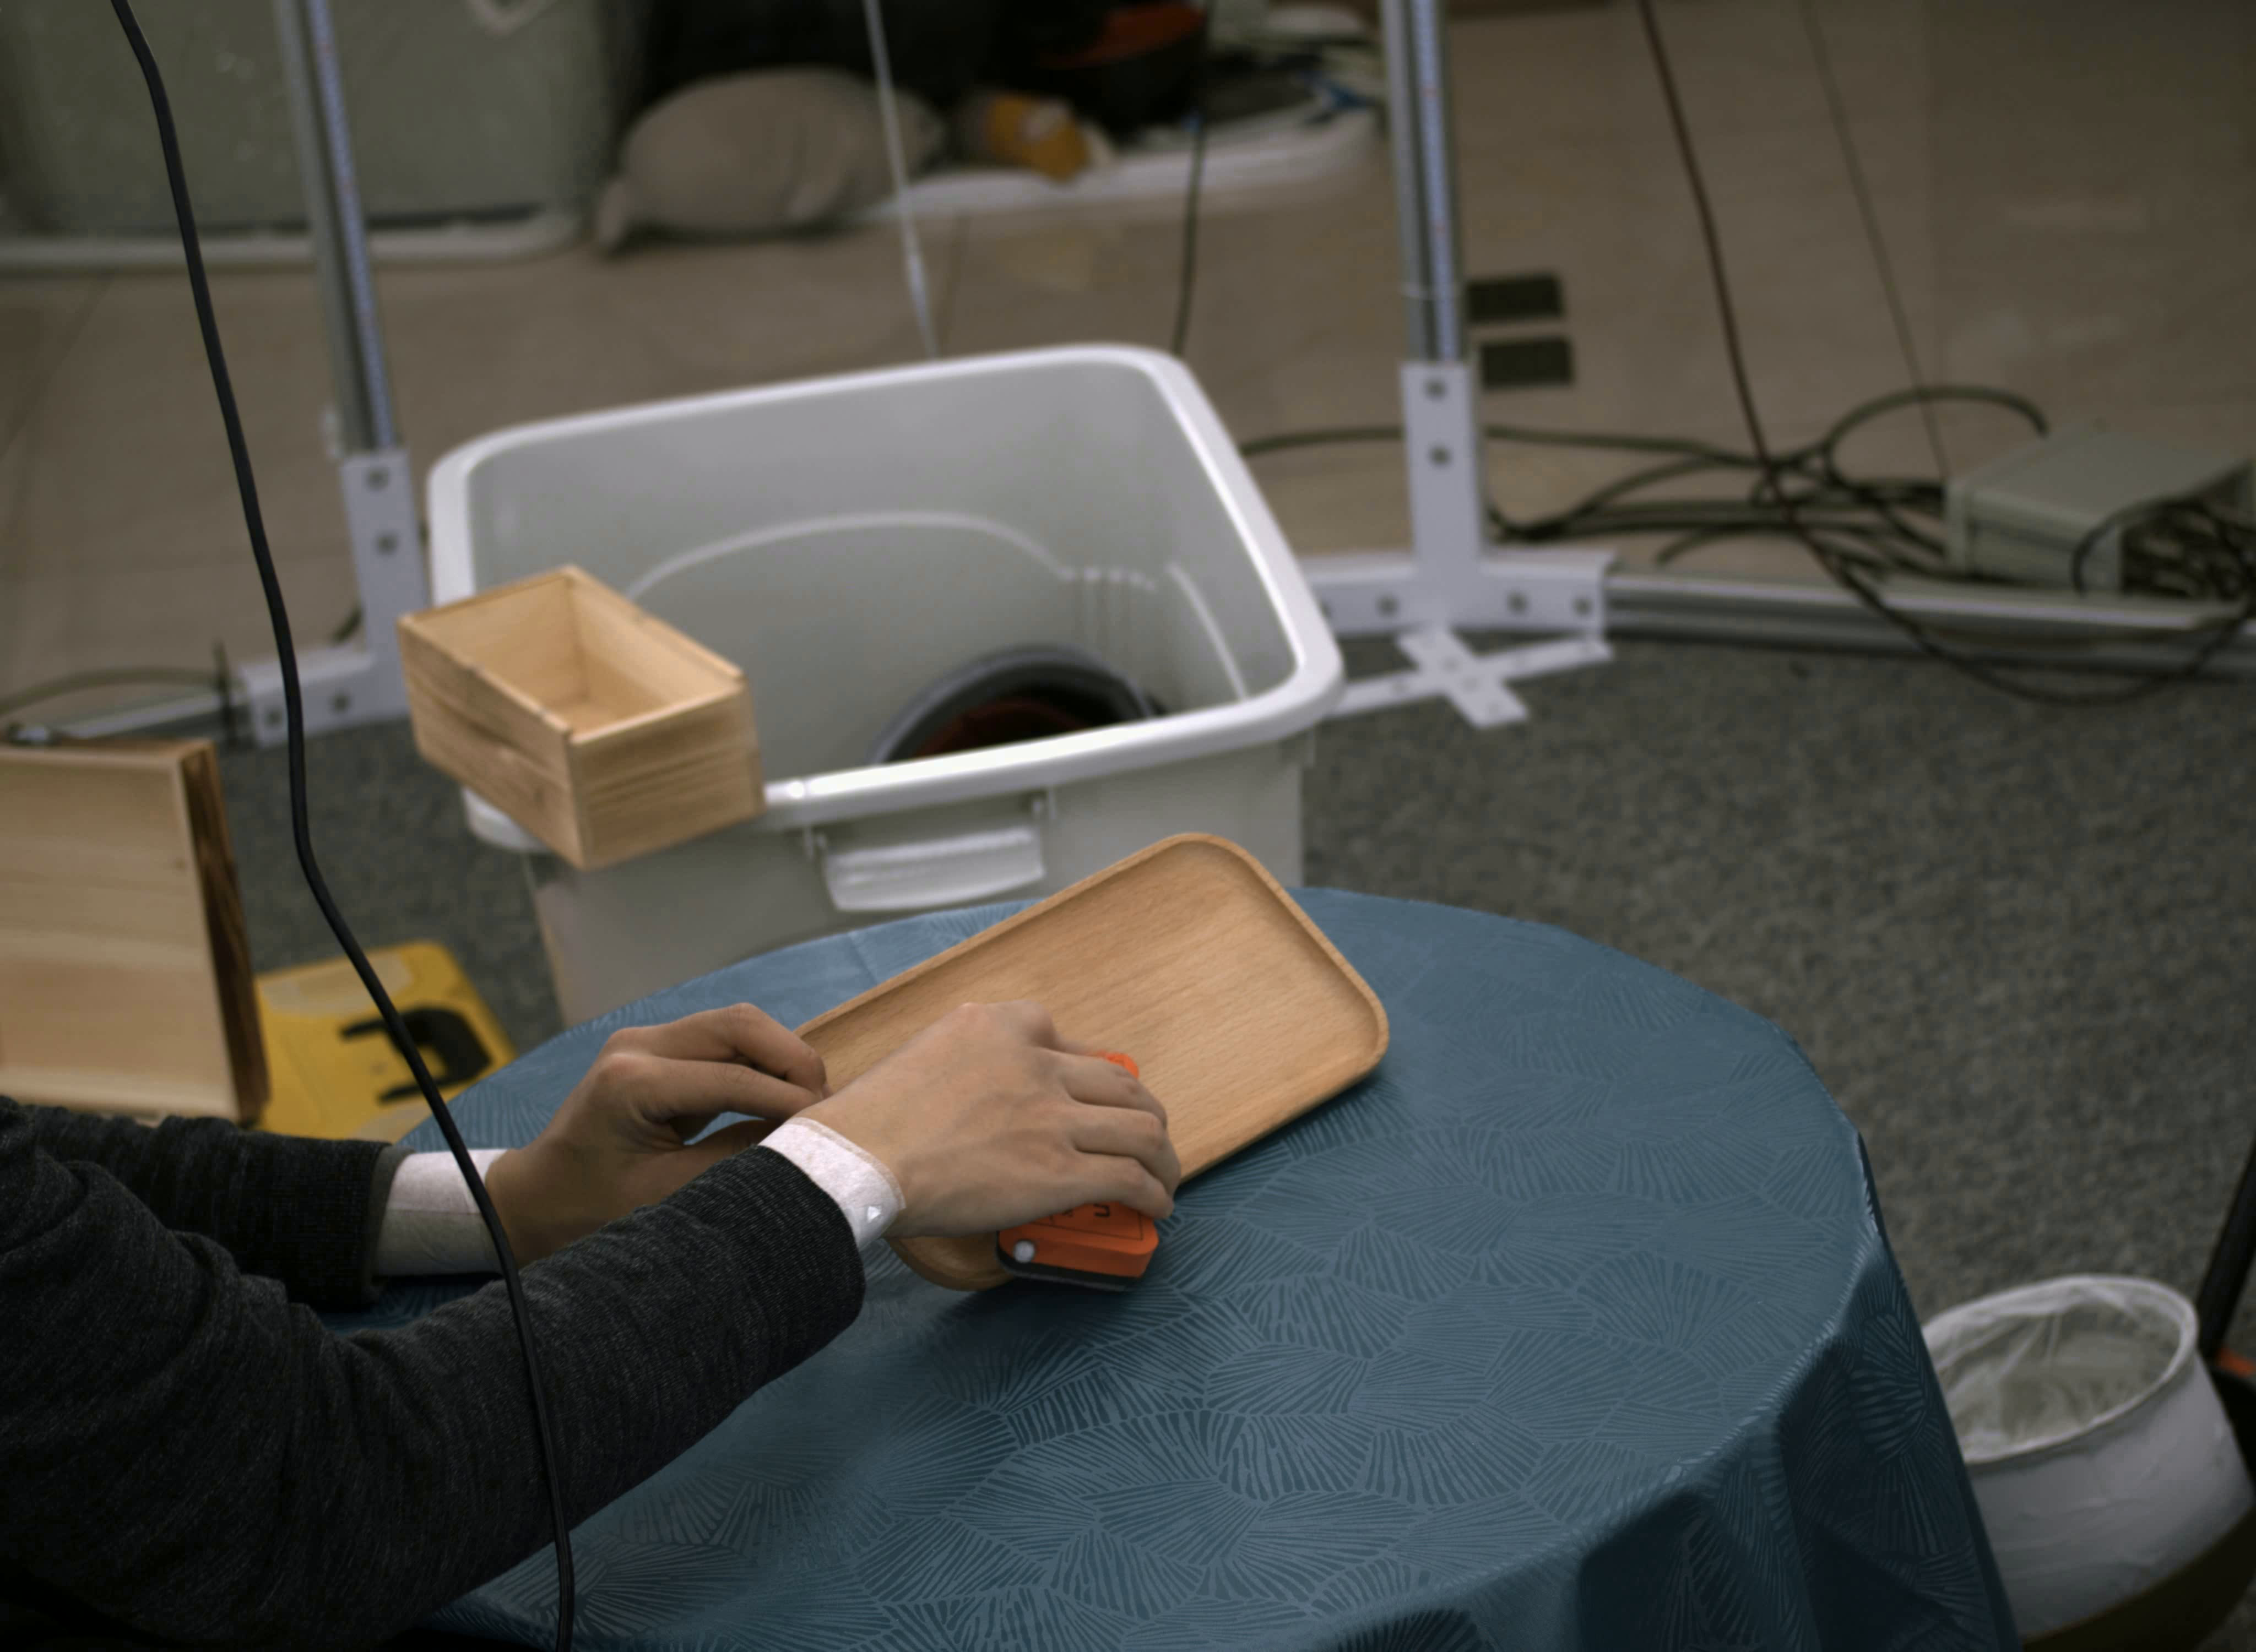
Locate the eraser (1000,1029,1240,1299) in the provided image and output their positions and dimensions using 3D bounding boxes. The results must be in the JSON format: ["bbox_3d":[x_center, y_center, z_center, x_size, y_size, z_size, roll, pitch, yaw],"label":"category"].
[{"bbox_3d":[-0.004,0.125,2.115,0.059,0.023,0.106,-7,54,-28],"label":"eraser"}]

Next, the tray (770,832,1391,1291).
[{"bbox_3d":[-0.016,0.088,2.163,0.248,0.023,0.129,-26,66,-36],"label":"tray"}]
